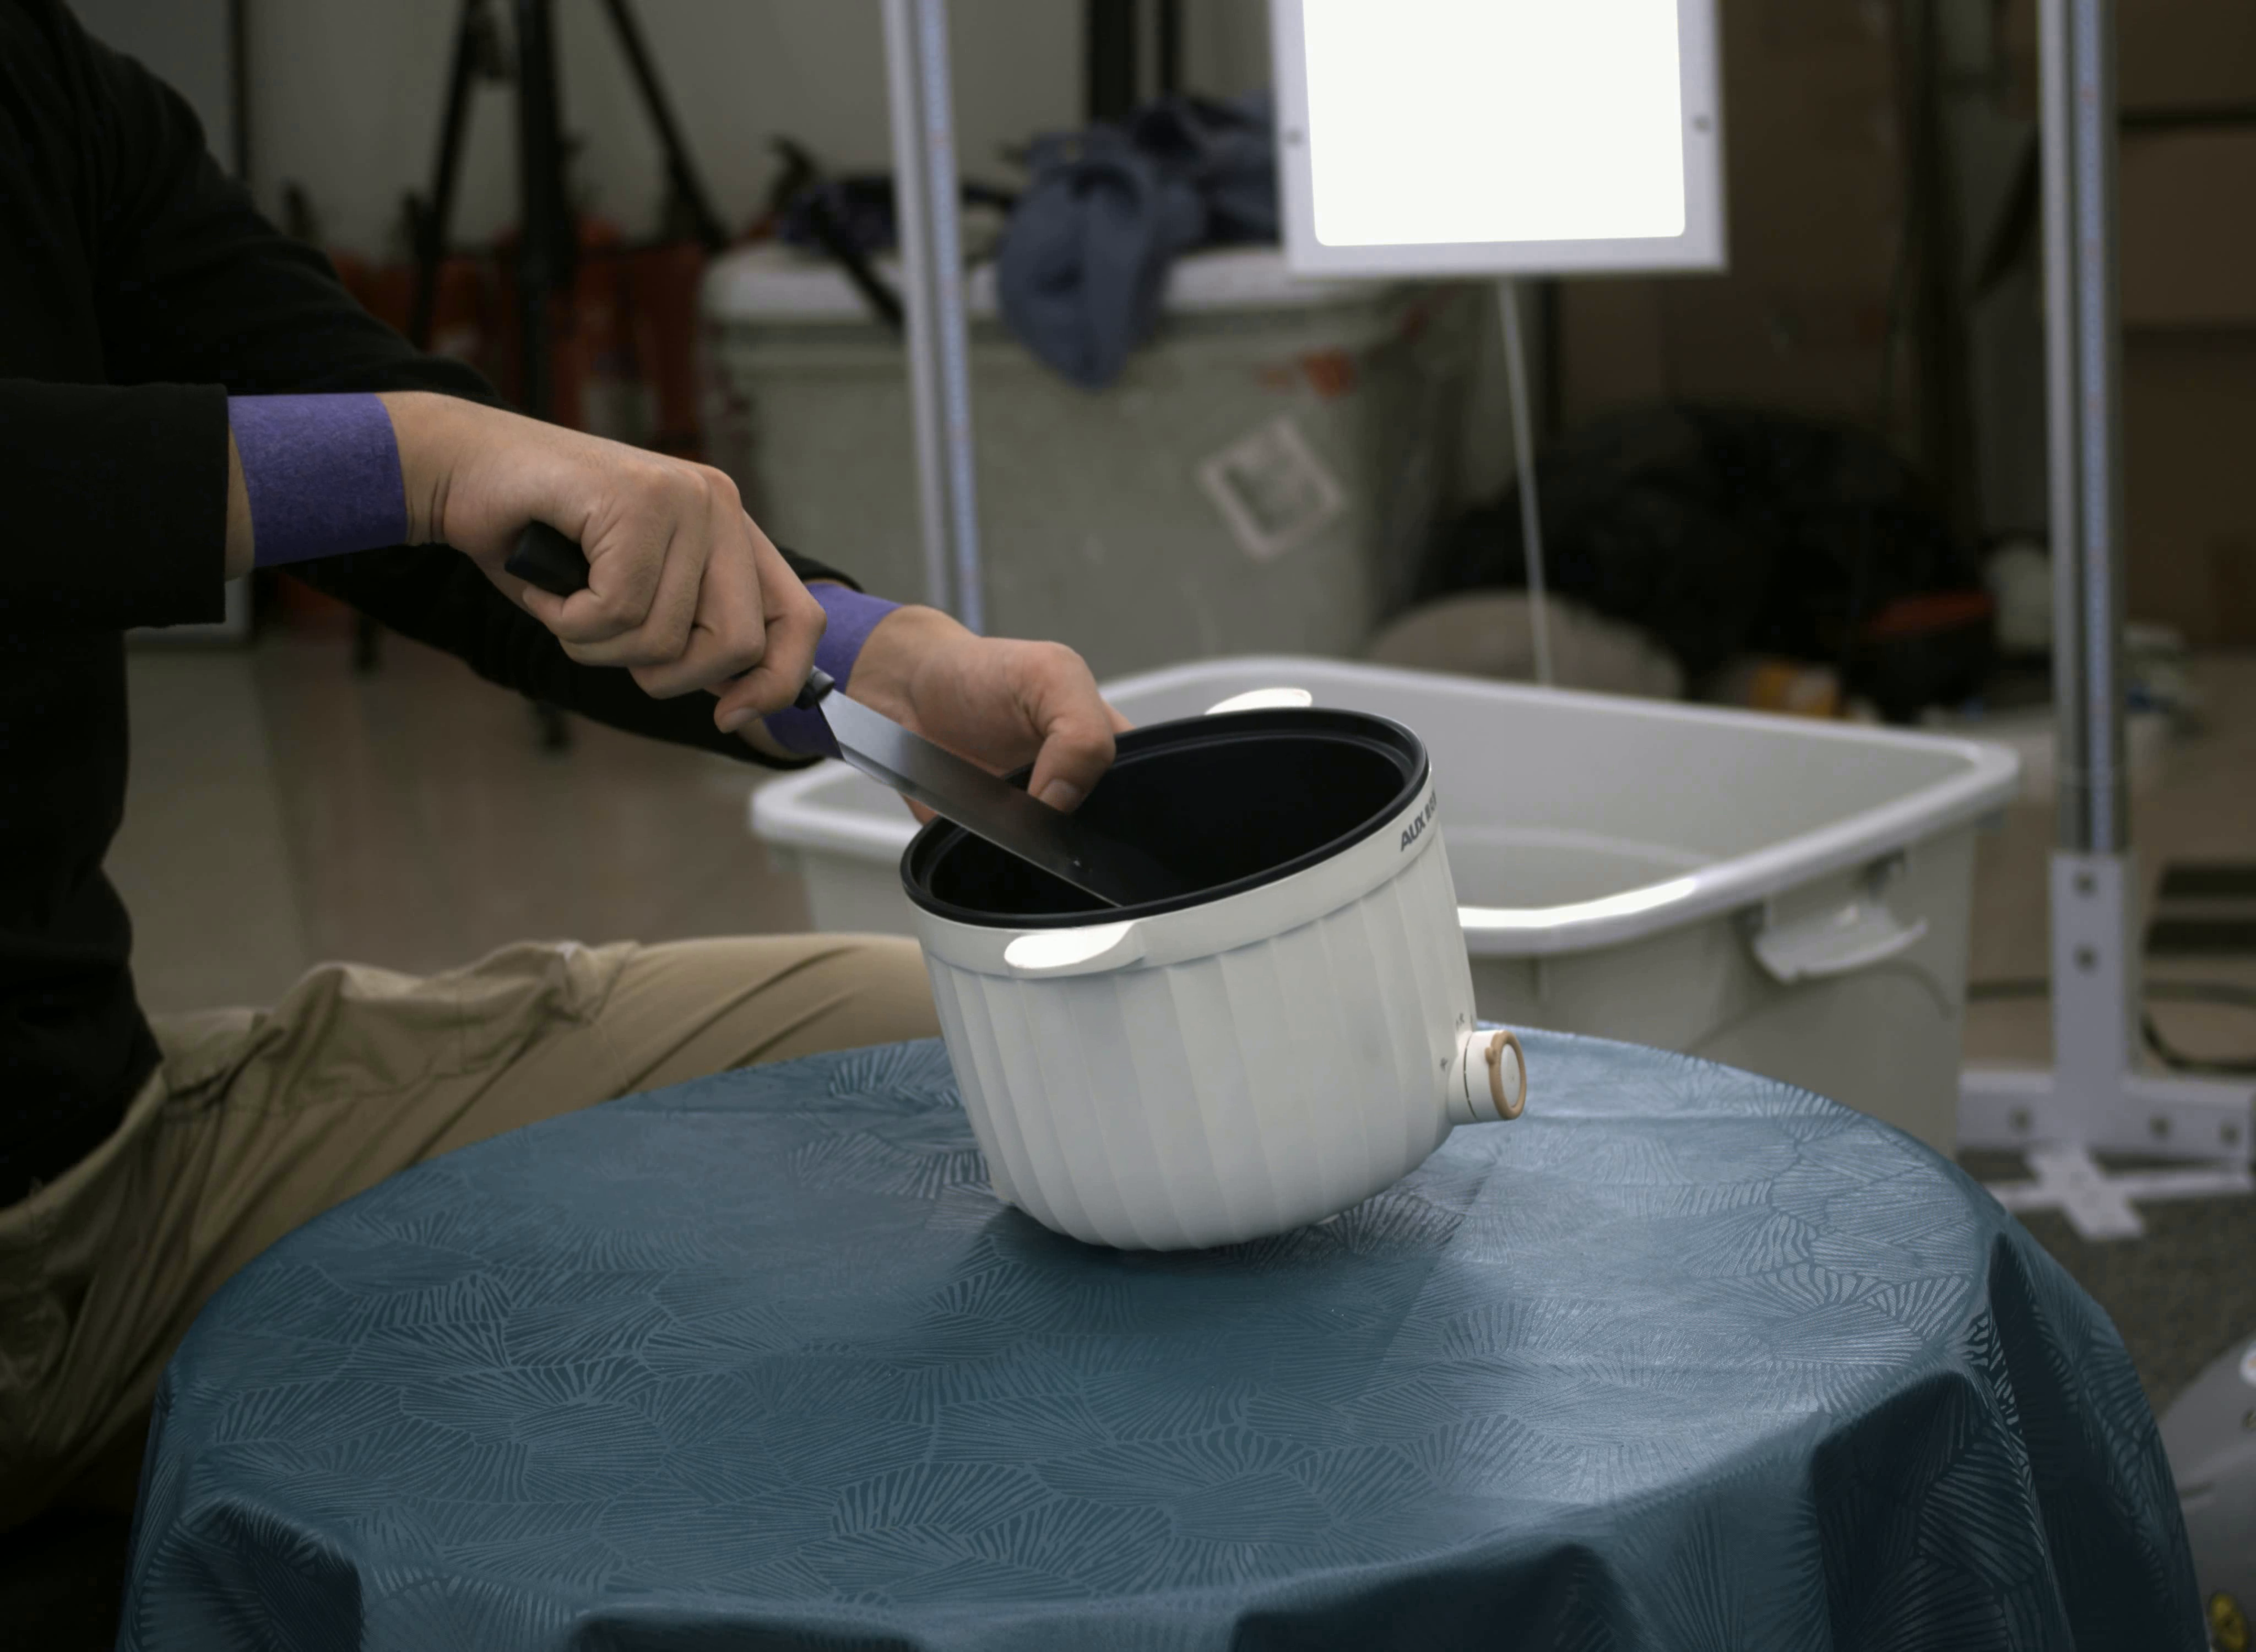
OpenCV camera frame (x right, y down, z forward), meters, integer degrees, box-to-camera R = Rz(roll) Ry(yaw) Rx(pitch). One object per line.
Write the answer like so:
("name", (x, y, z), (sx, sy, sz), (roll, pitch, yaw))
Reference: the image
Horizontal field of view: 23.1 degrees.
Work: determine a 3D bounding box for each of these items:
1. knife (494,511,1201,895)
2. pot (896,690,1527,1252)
("knife", (-0.081, -0.028, 1.833), (0.298, 0.021, 0.081), (29, 16, -22))
("pot", (0.031, 0.054, 1.850), (0.193, 0.142, 0.236), (-9, 20, 24))
